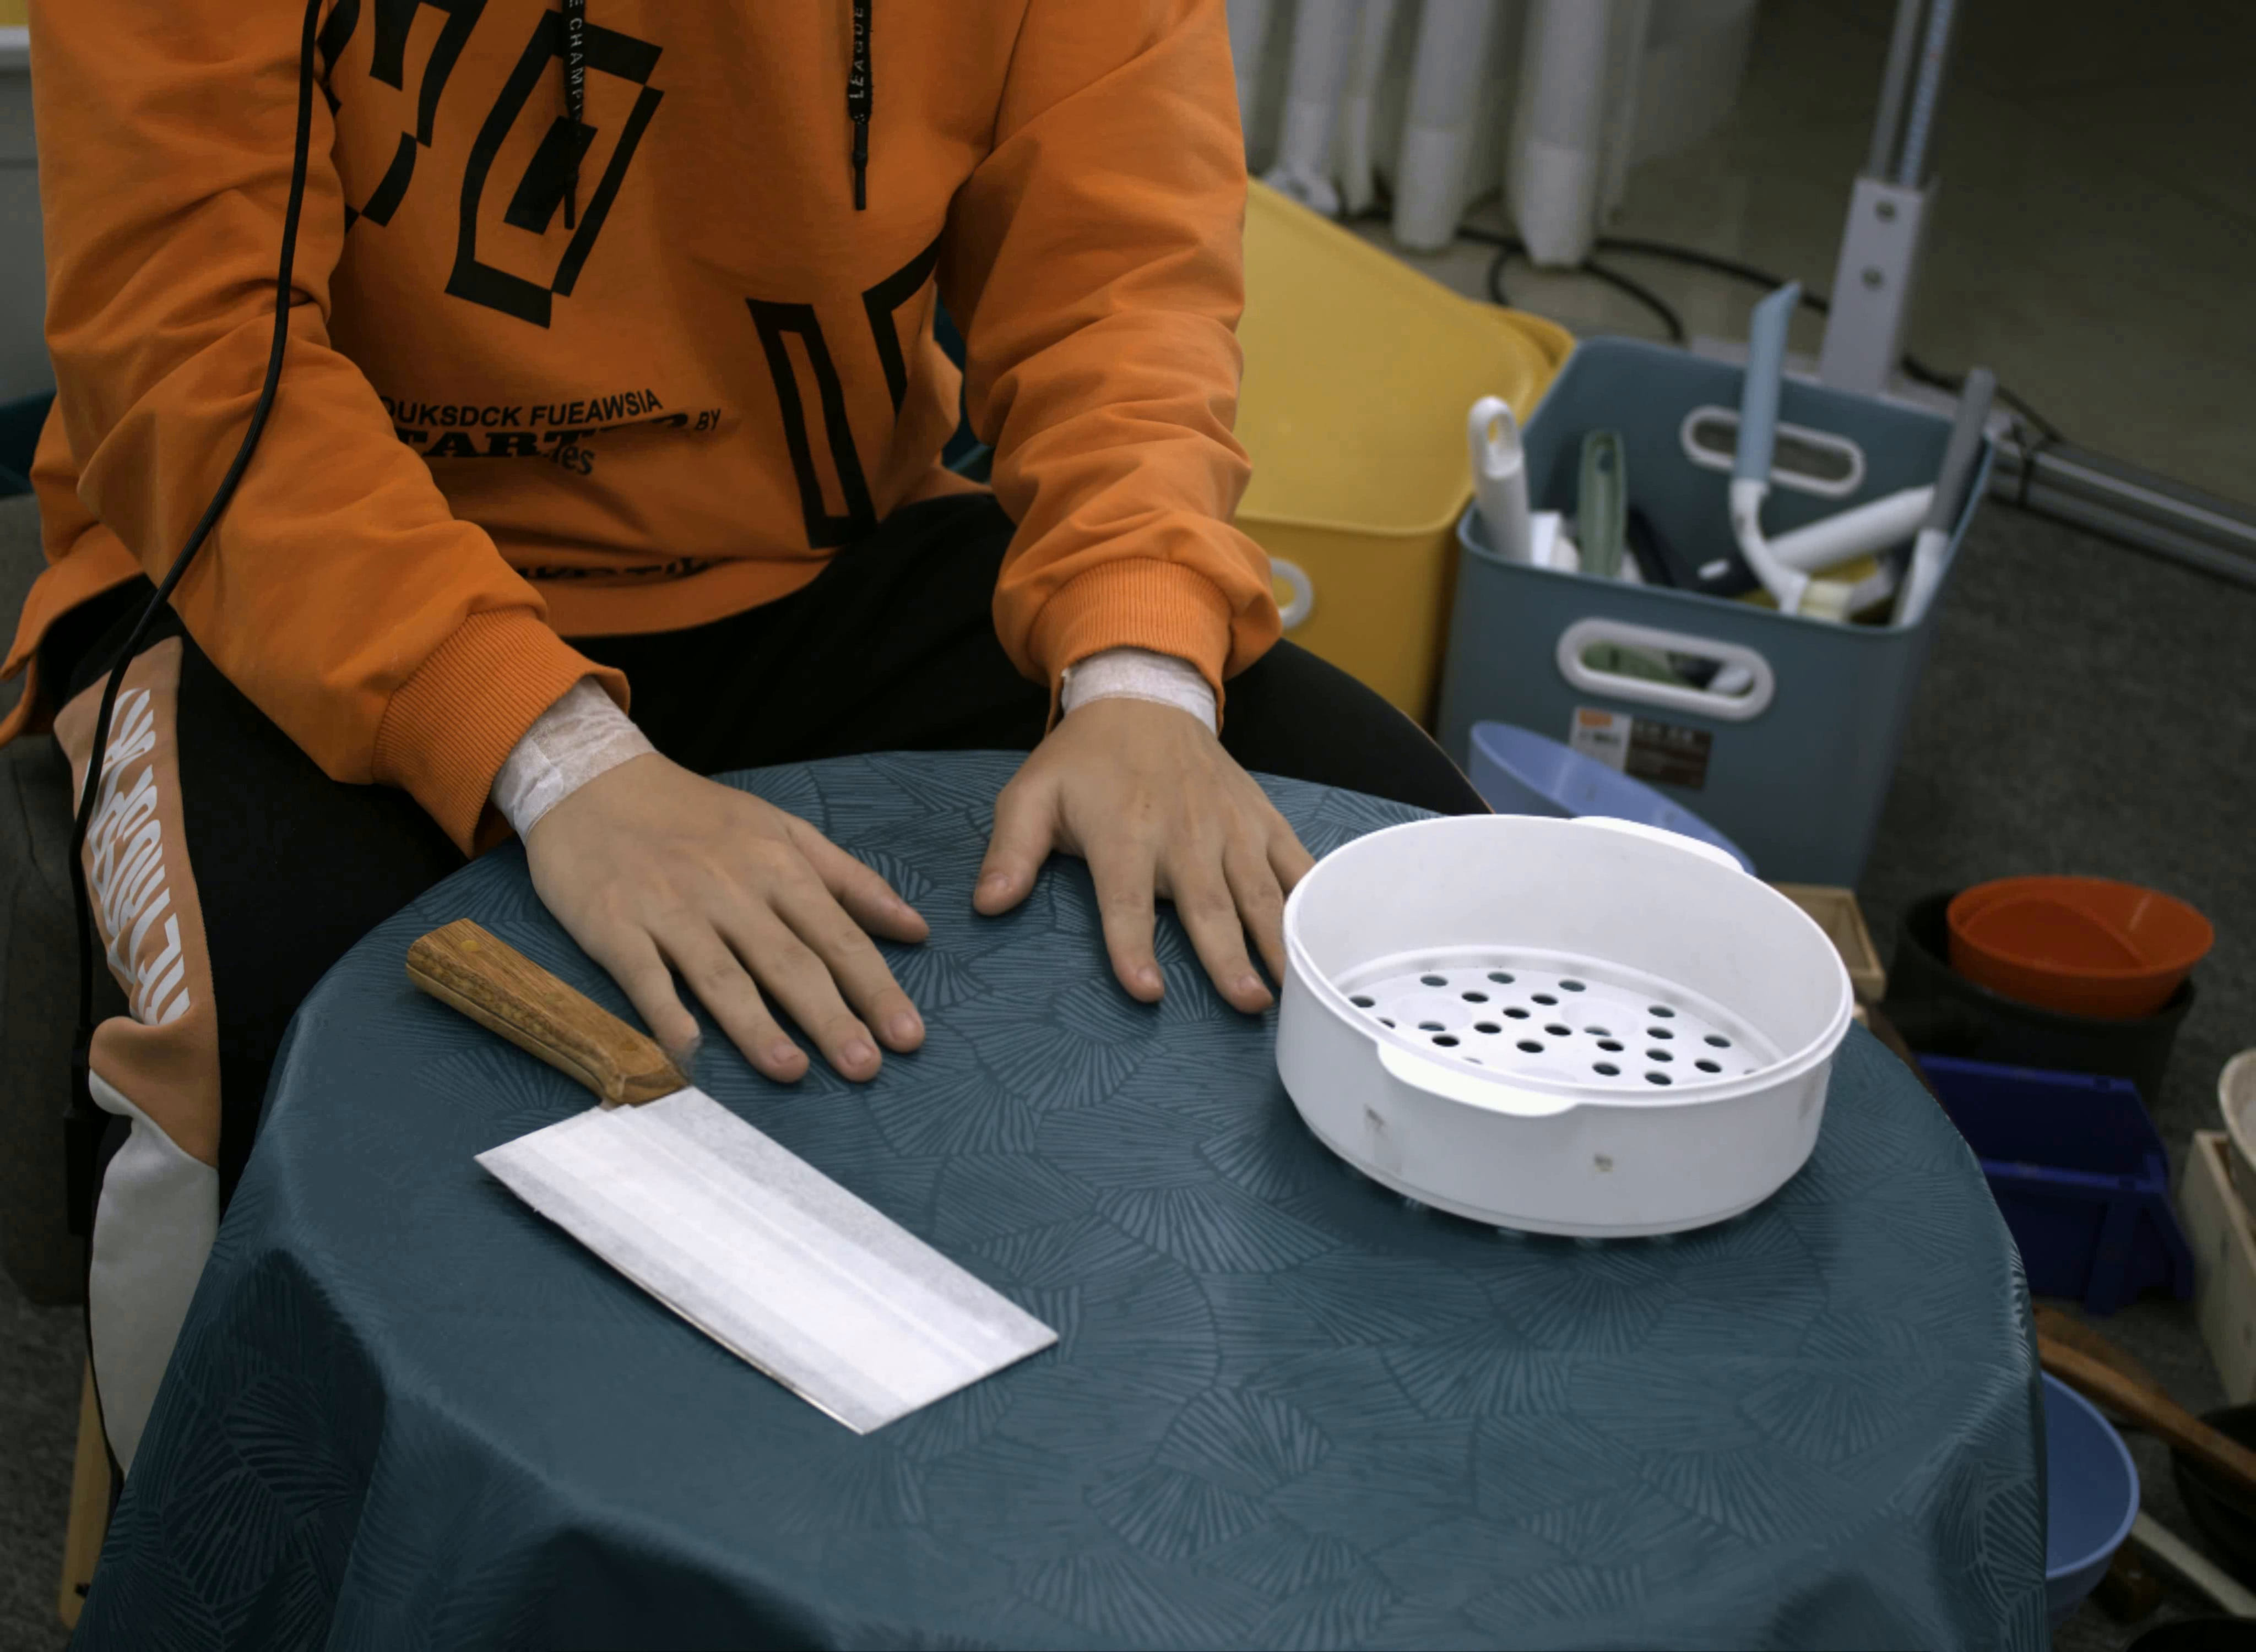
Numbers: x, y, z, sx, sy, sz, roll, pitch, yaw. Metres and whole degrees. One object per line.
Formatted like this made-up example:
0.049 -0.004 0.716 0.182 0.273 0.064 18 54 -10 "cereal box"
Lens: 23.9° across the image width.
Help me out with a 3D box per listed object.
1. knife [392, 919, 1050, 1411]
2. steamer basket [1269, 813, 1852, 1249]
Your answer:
-0.159 0.113 1.772 0.092 0.021 0.308 -22 41 -41 "knife"
0.148 0.072 1.859 0.202 0.069 0.231 15 30 18 "steamer basket"
